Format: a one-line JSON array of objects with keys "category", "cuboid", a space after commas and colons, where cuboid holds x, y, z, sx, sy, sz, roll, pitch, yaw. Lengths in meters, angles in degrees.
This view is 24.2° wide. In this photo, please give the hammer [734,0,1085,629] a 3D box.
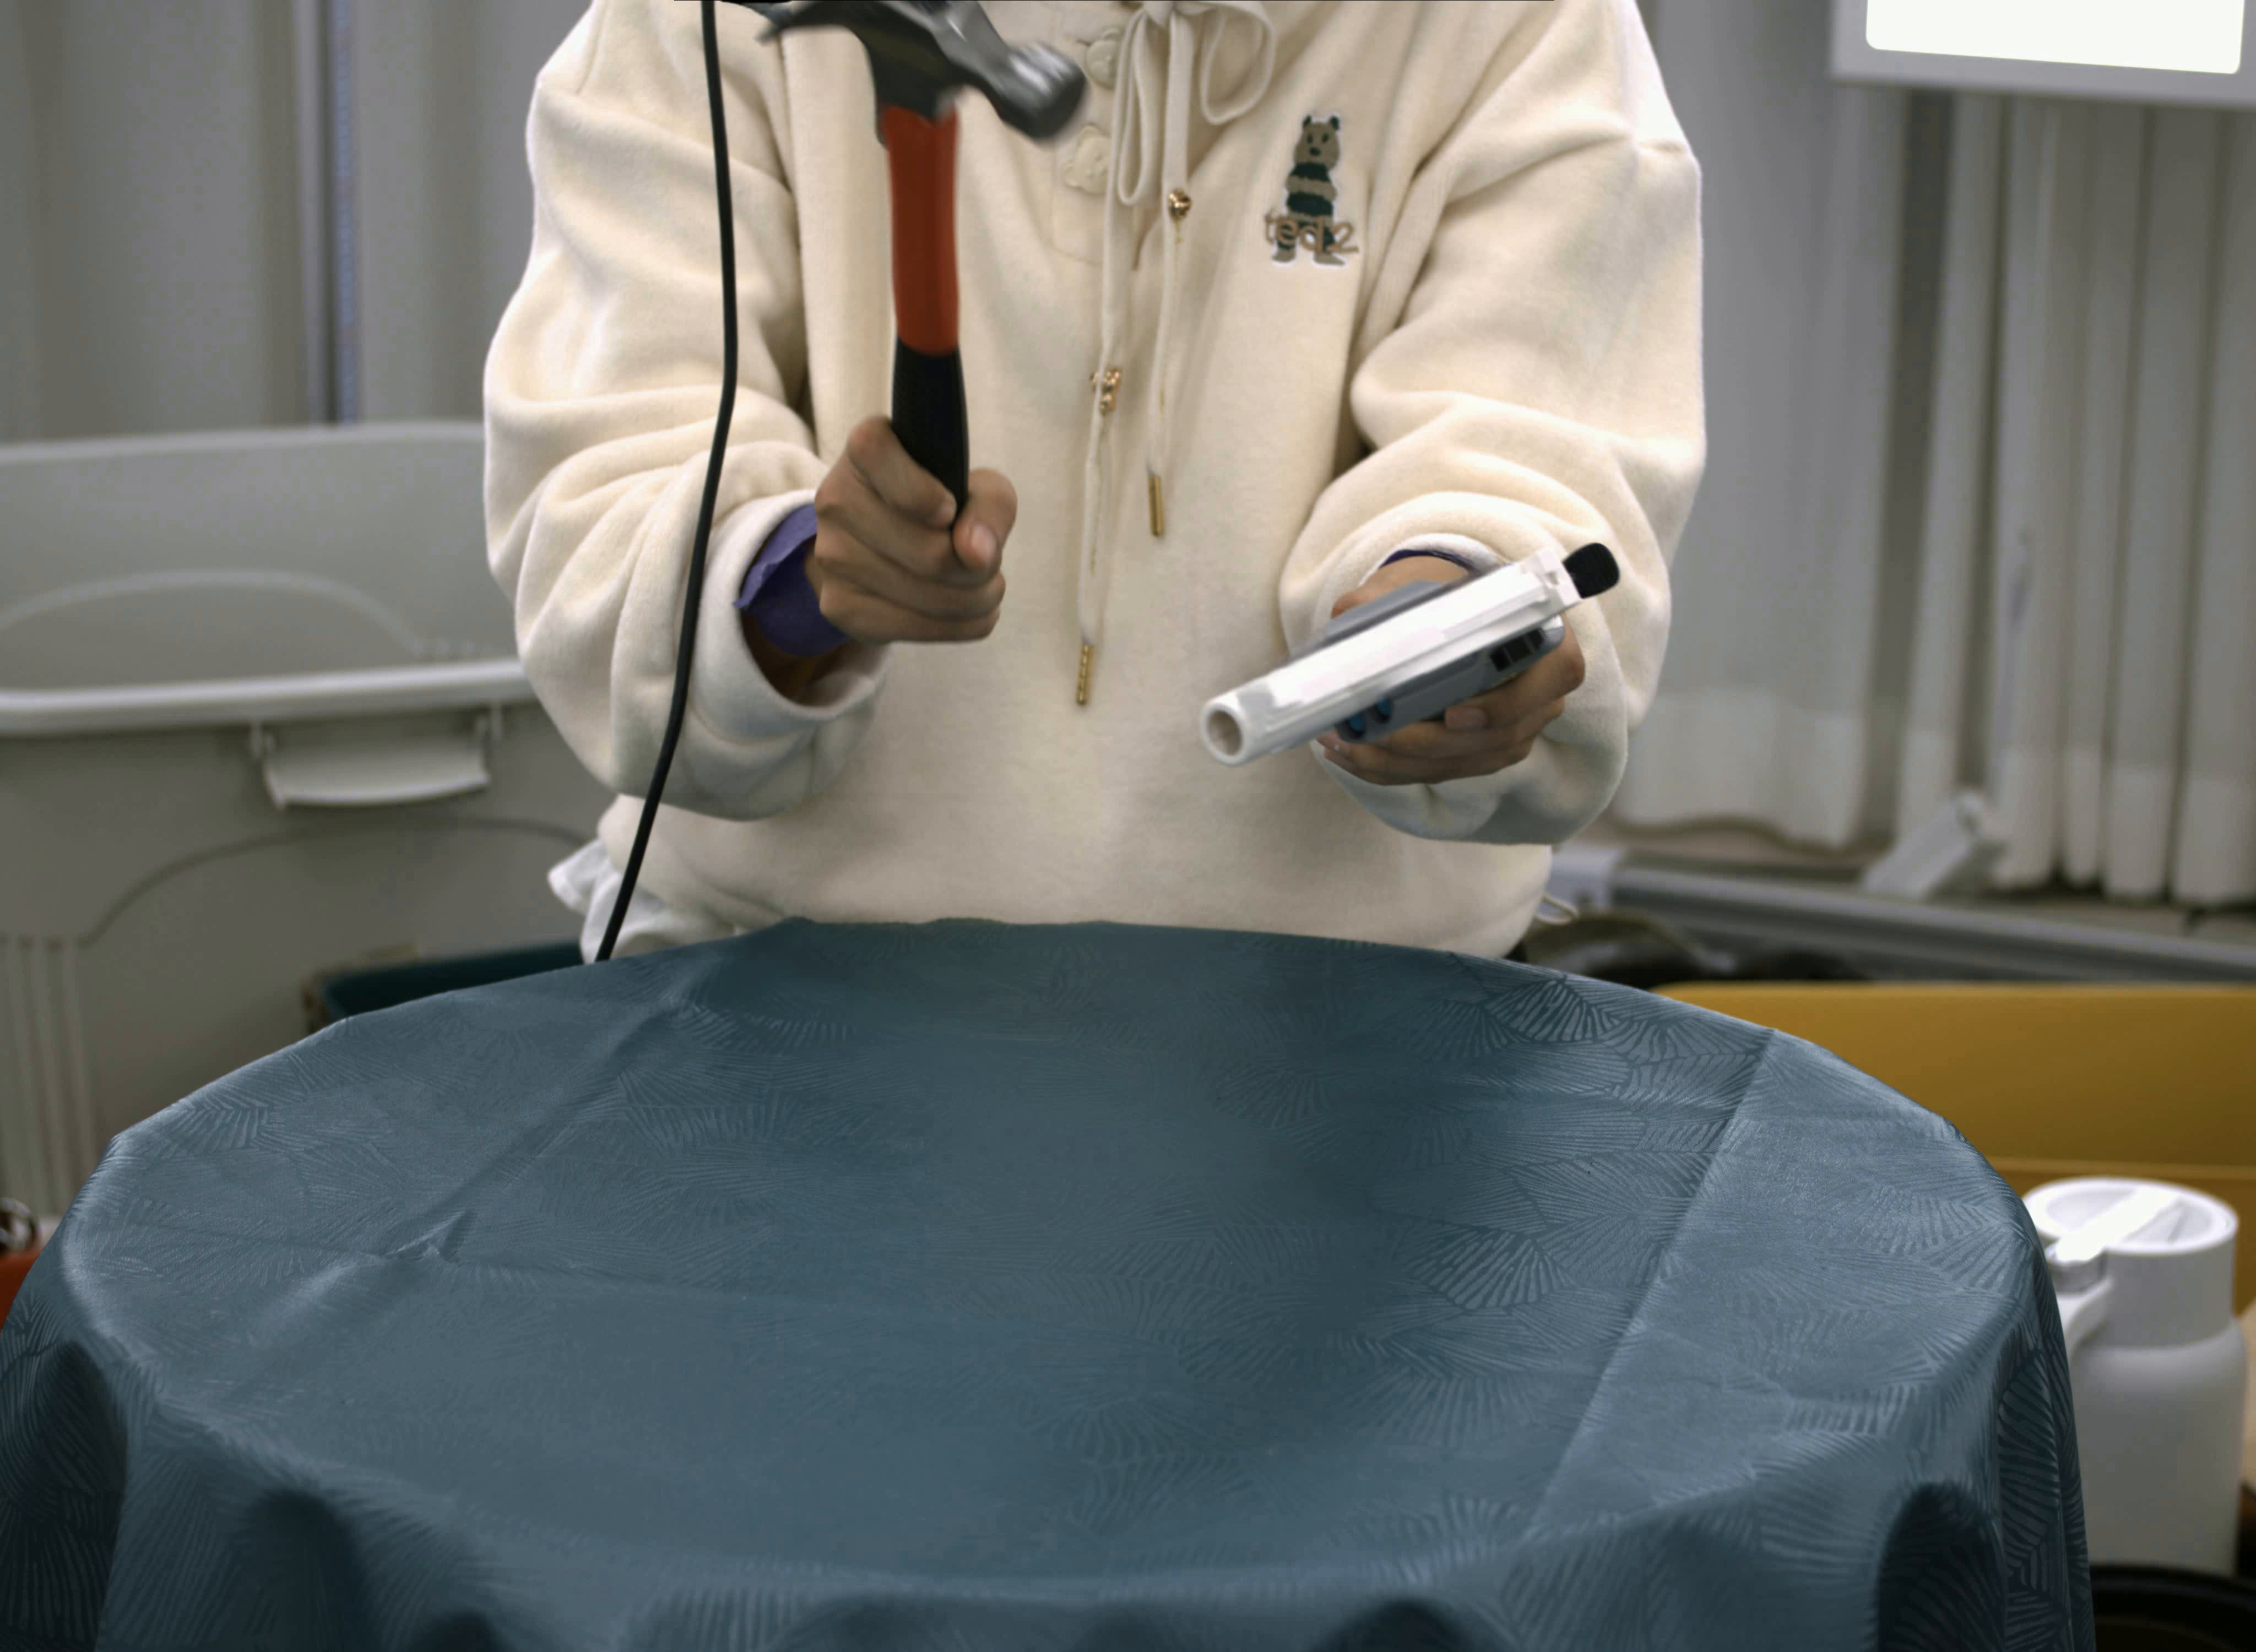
[{"category": "hammer", "cuboid": [-0.064, -0.164, 1.632, 0.109, 0.280, 0.026, 23, 54, 19]}]

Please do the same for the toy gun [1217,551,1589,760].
[{"category": "toy gun", "cuboid": [0.070, -0.042, 1.567, 0.210, 0.039, 0.141, -23, -3, -45]}]
